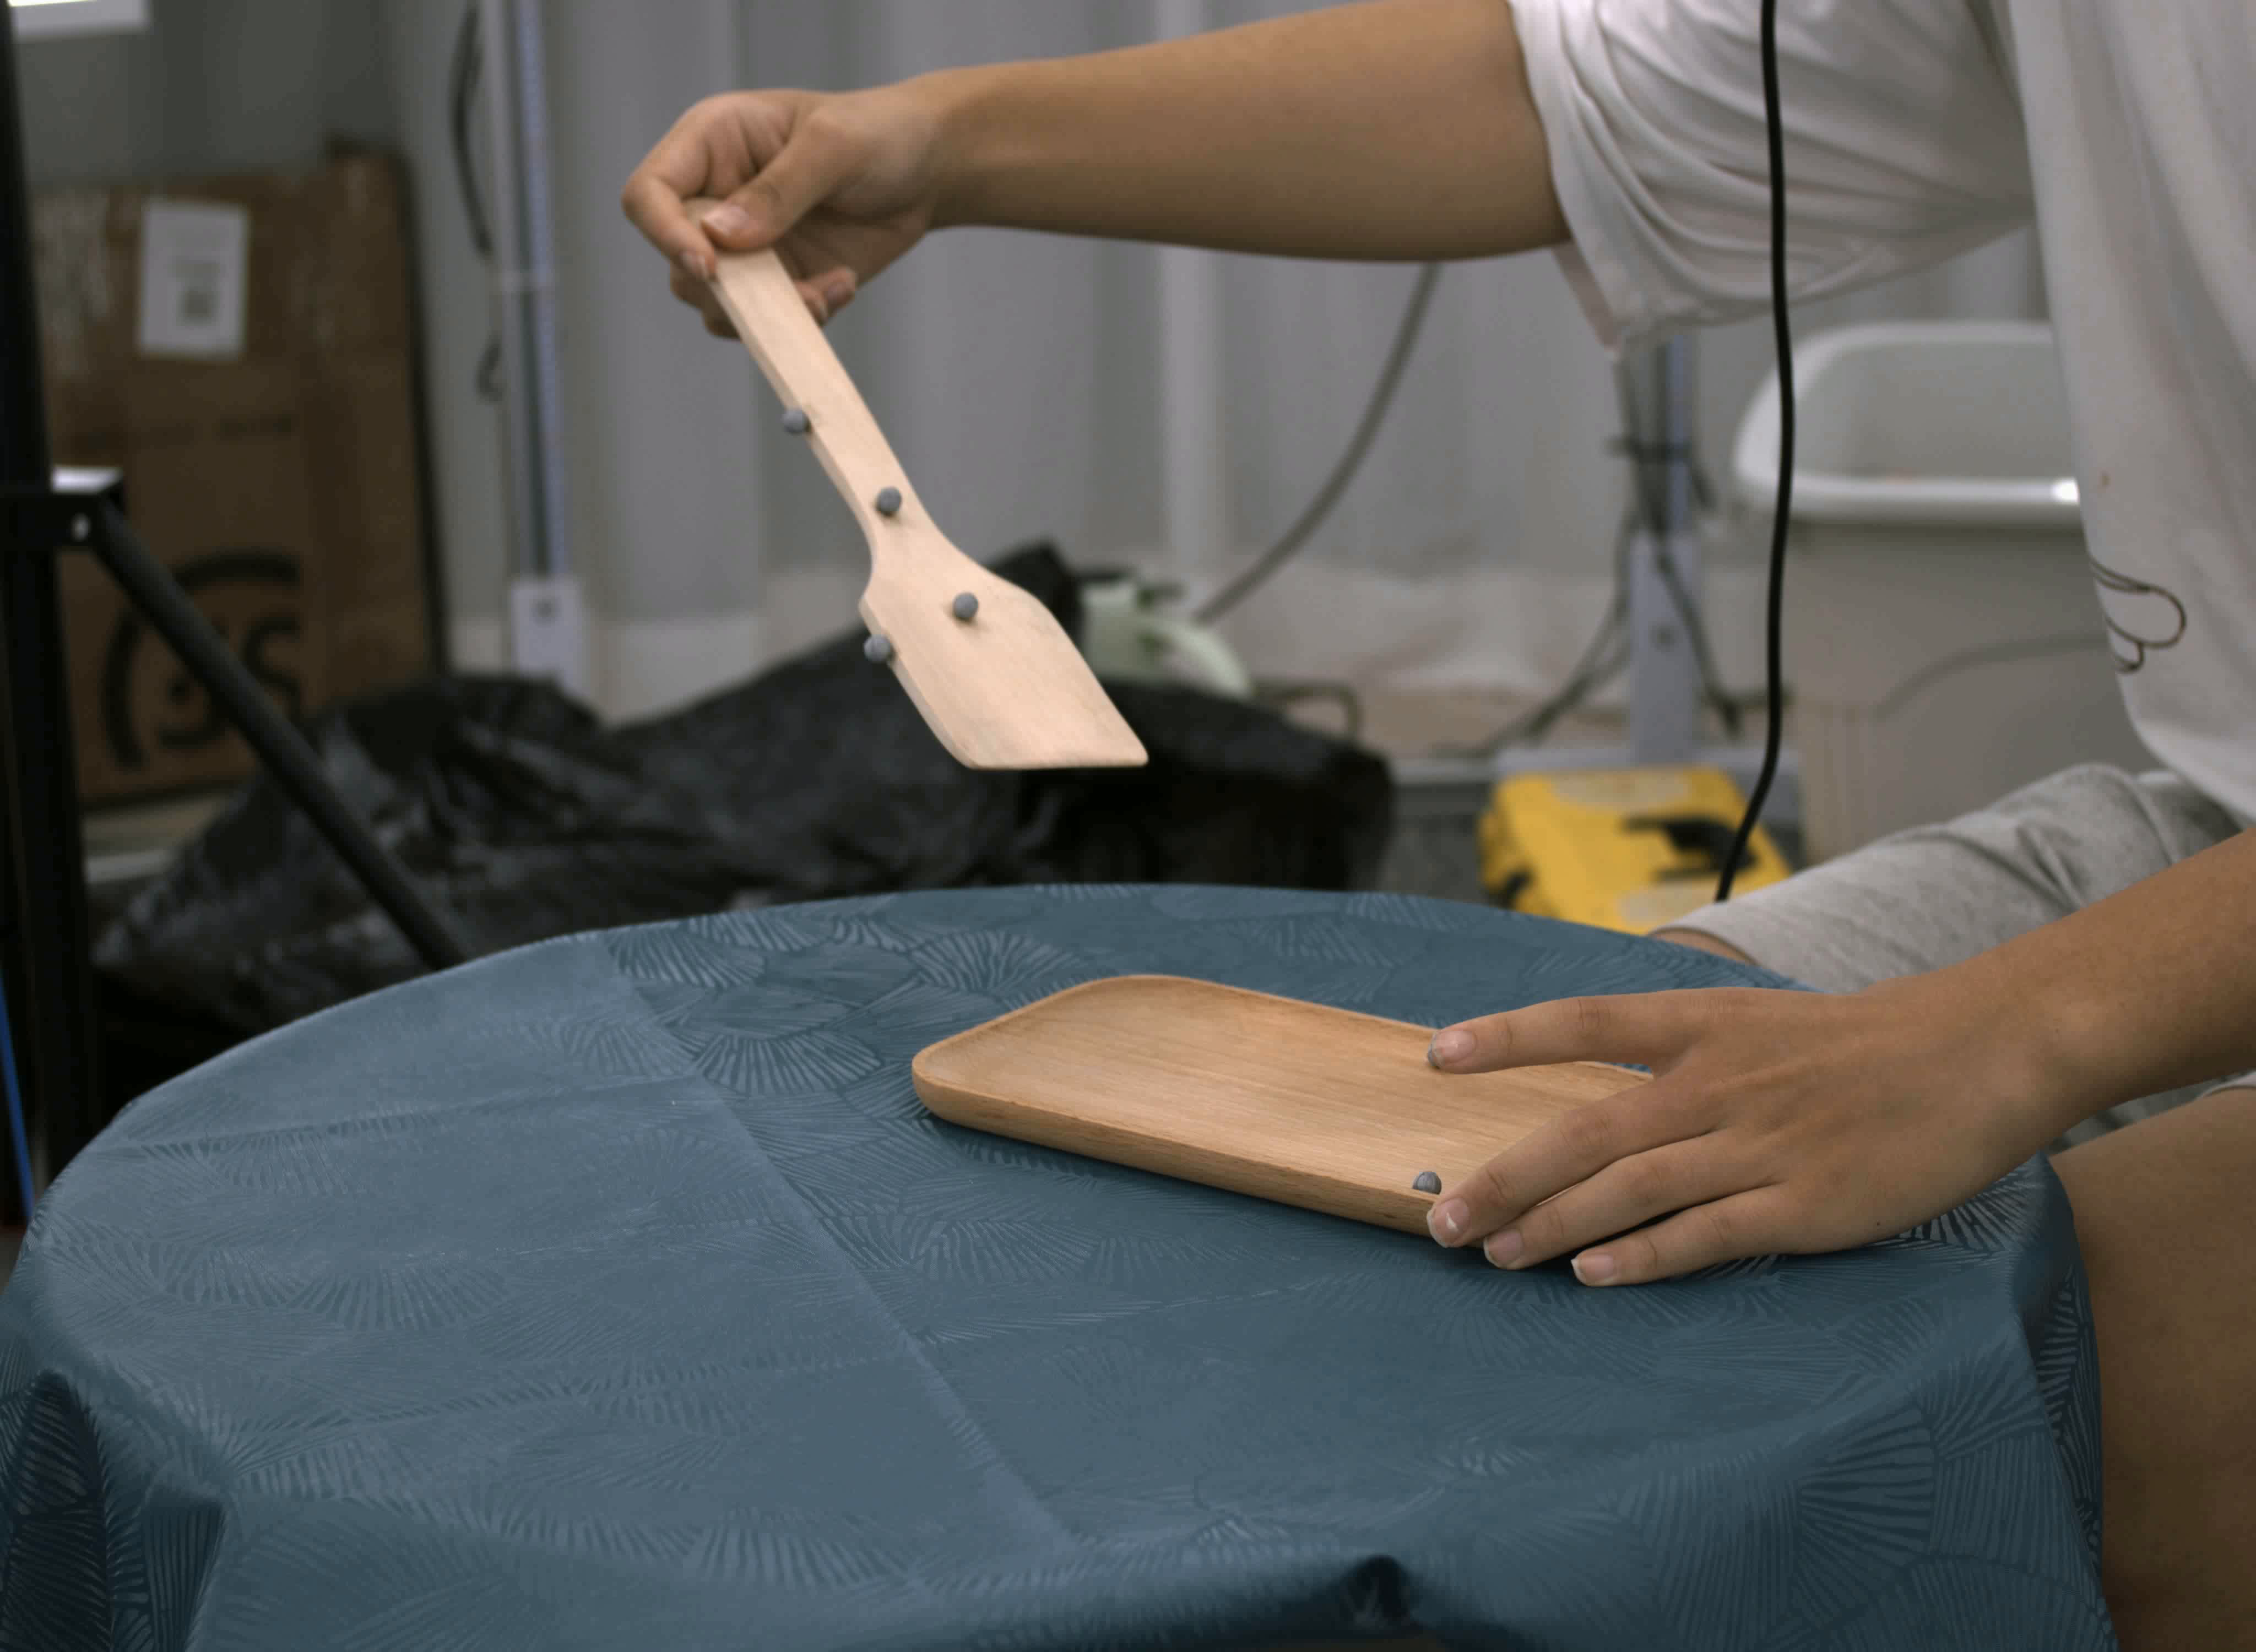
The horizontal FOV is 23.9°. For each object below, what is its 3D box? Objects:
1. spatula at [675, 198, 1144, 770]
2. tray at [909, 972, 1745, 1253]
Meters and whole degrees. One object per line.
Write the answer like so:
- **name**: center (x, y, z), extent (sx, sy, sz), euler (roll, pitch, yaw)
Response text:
- **spatula**: center (-0.086, -0.116, 1.763), extent (0.070, 0.011, 0.299), euler (-3, 44, -33)
- **tray**: center (0.058, 0.085, 1.605), extent (0.256, 0.023, 0.127), euler (10, 18, 40)
